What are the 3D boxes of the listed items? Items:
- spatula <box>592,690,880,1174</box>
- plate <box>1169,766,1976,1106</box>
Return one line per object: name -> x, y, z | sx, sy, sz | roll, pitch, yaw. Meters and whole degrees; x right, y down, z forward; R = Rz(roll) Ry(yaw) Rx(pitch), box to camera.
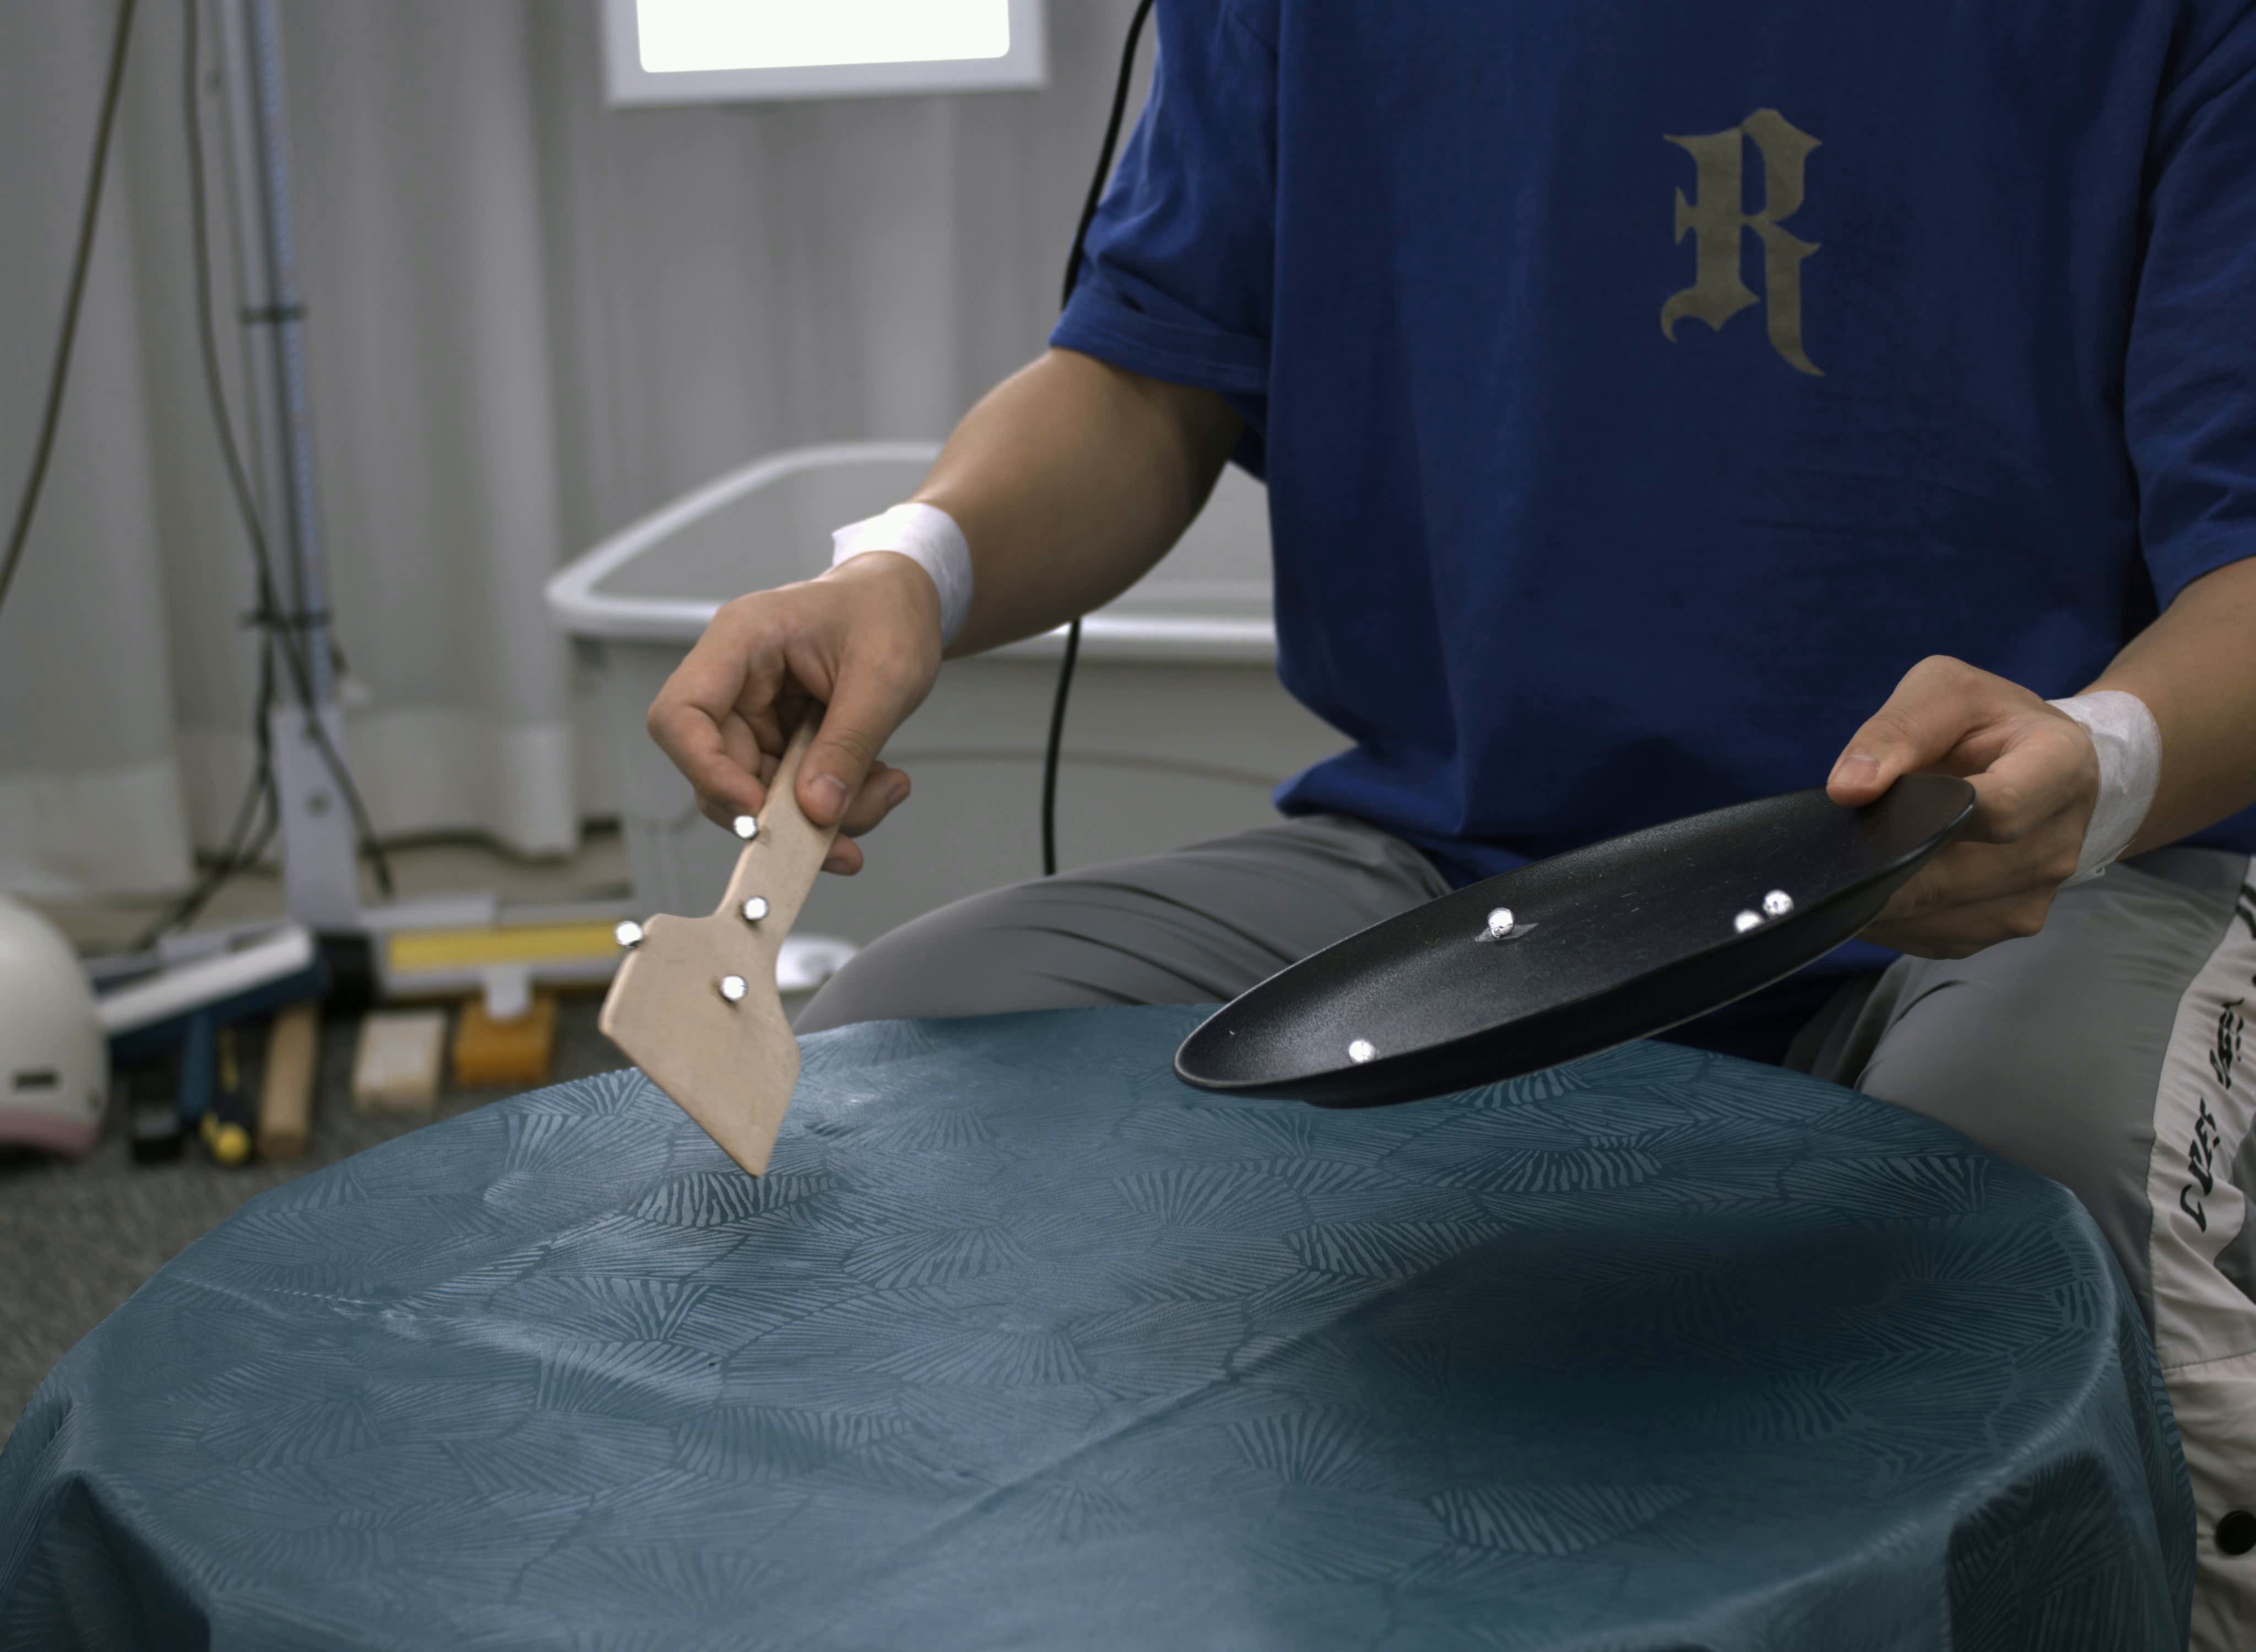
spatula -> -0.120, 0.022, 1.803 | 0.010, 0.072, 0.296 | -42, 13, 24
plate -> 0.129, 0.036, 1.566 | 0.244, 0.023, 0.245 | -20, 7, 2
